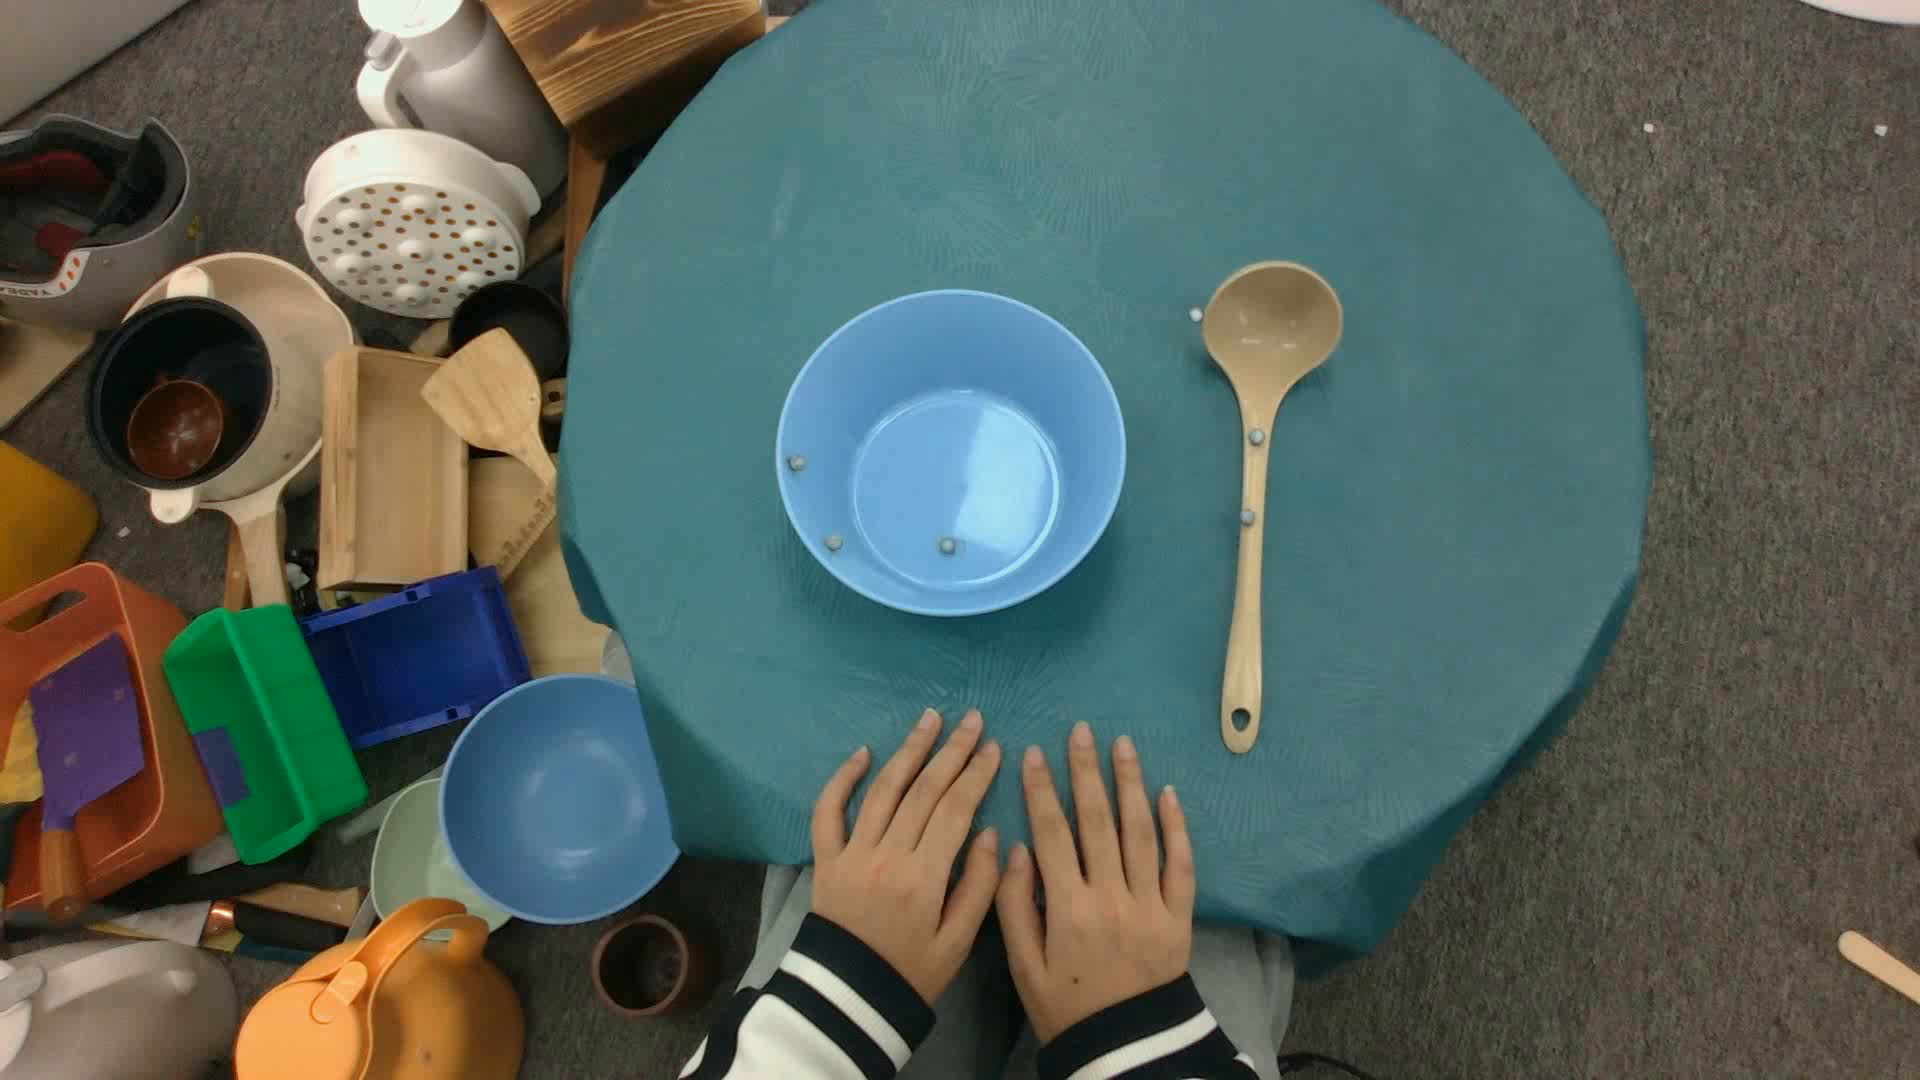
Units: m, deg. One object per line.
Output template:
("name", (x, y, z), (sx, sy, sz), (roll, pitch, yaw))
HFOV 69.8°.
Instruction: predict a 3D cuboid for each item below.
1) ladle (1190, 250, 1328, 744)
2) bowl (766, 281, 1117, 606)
("ladle", (0.151, -0.028, 0.704), (0.072, 0.072, 0.255), (4, 71, 4))
("bowl", (-0.008, -0.042, 0.716), (0.176, 0.070, 0.176), (-1, 71, 3))
